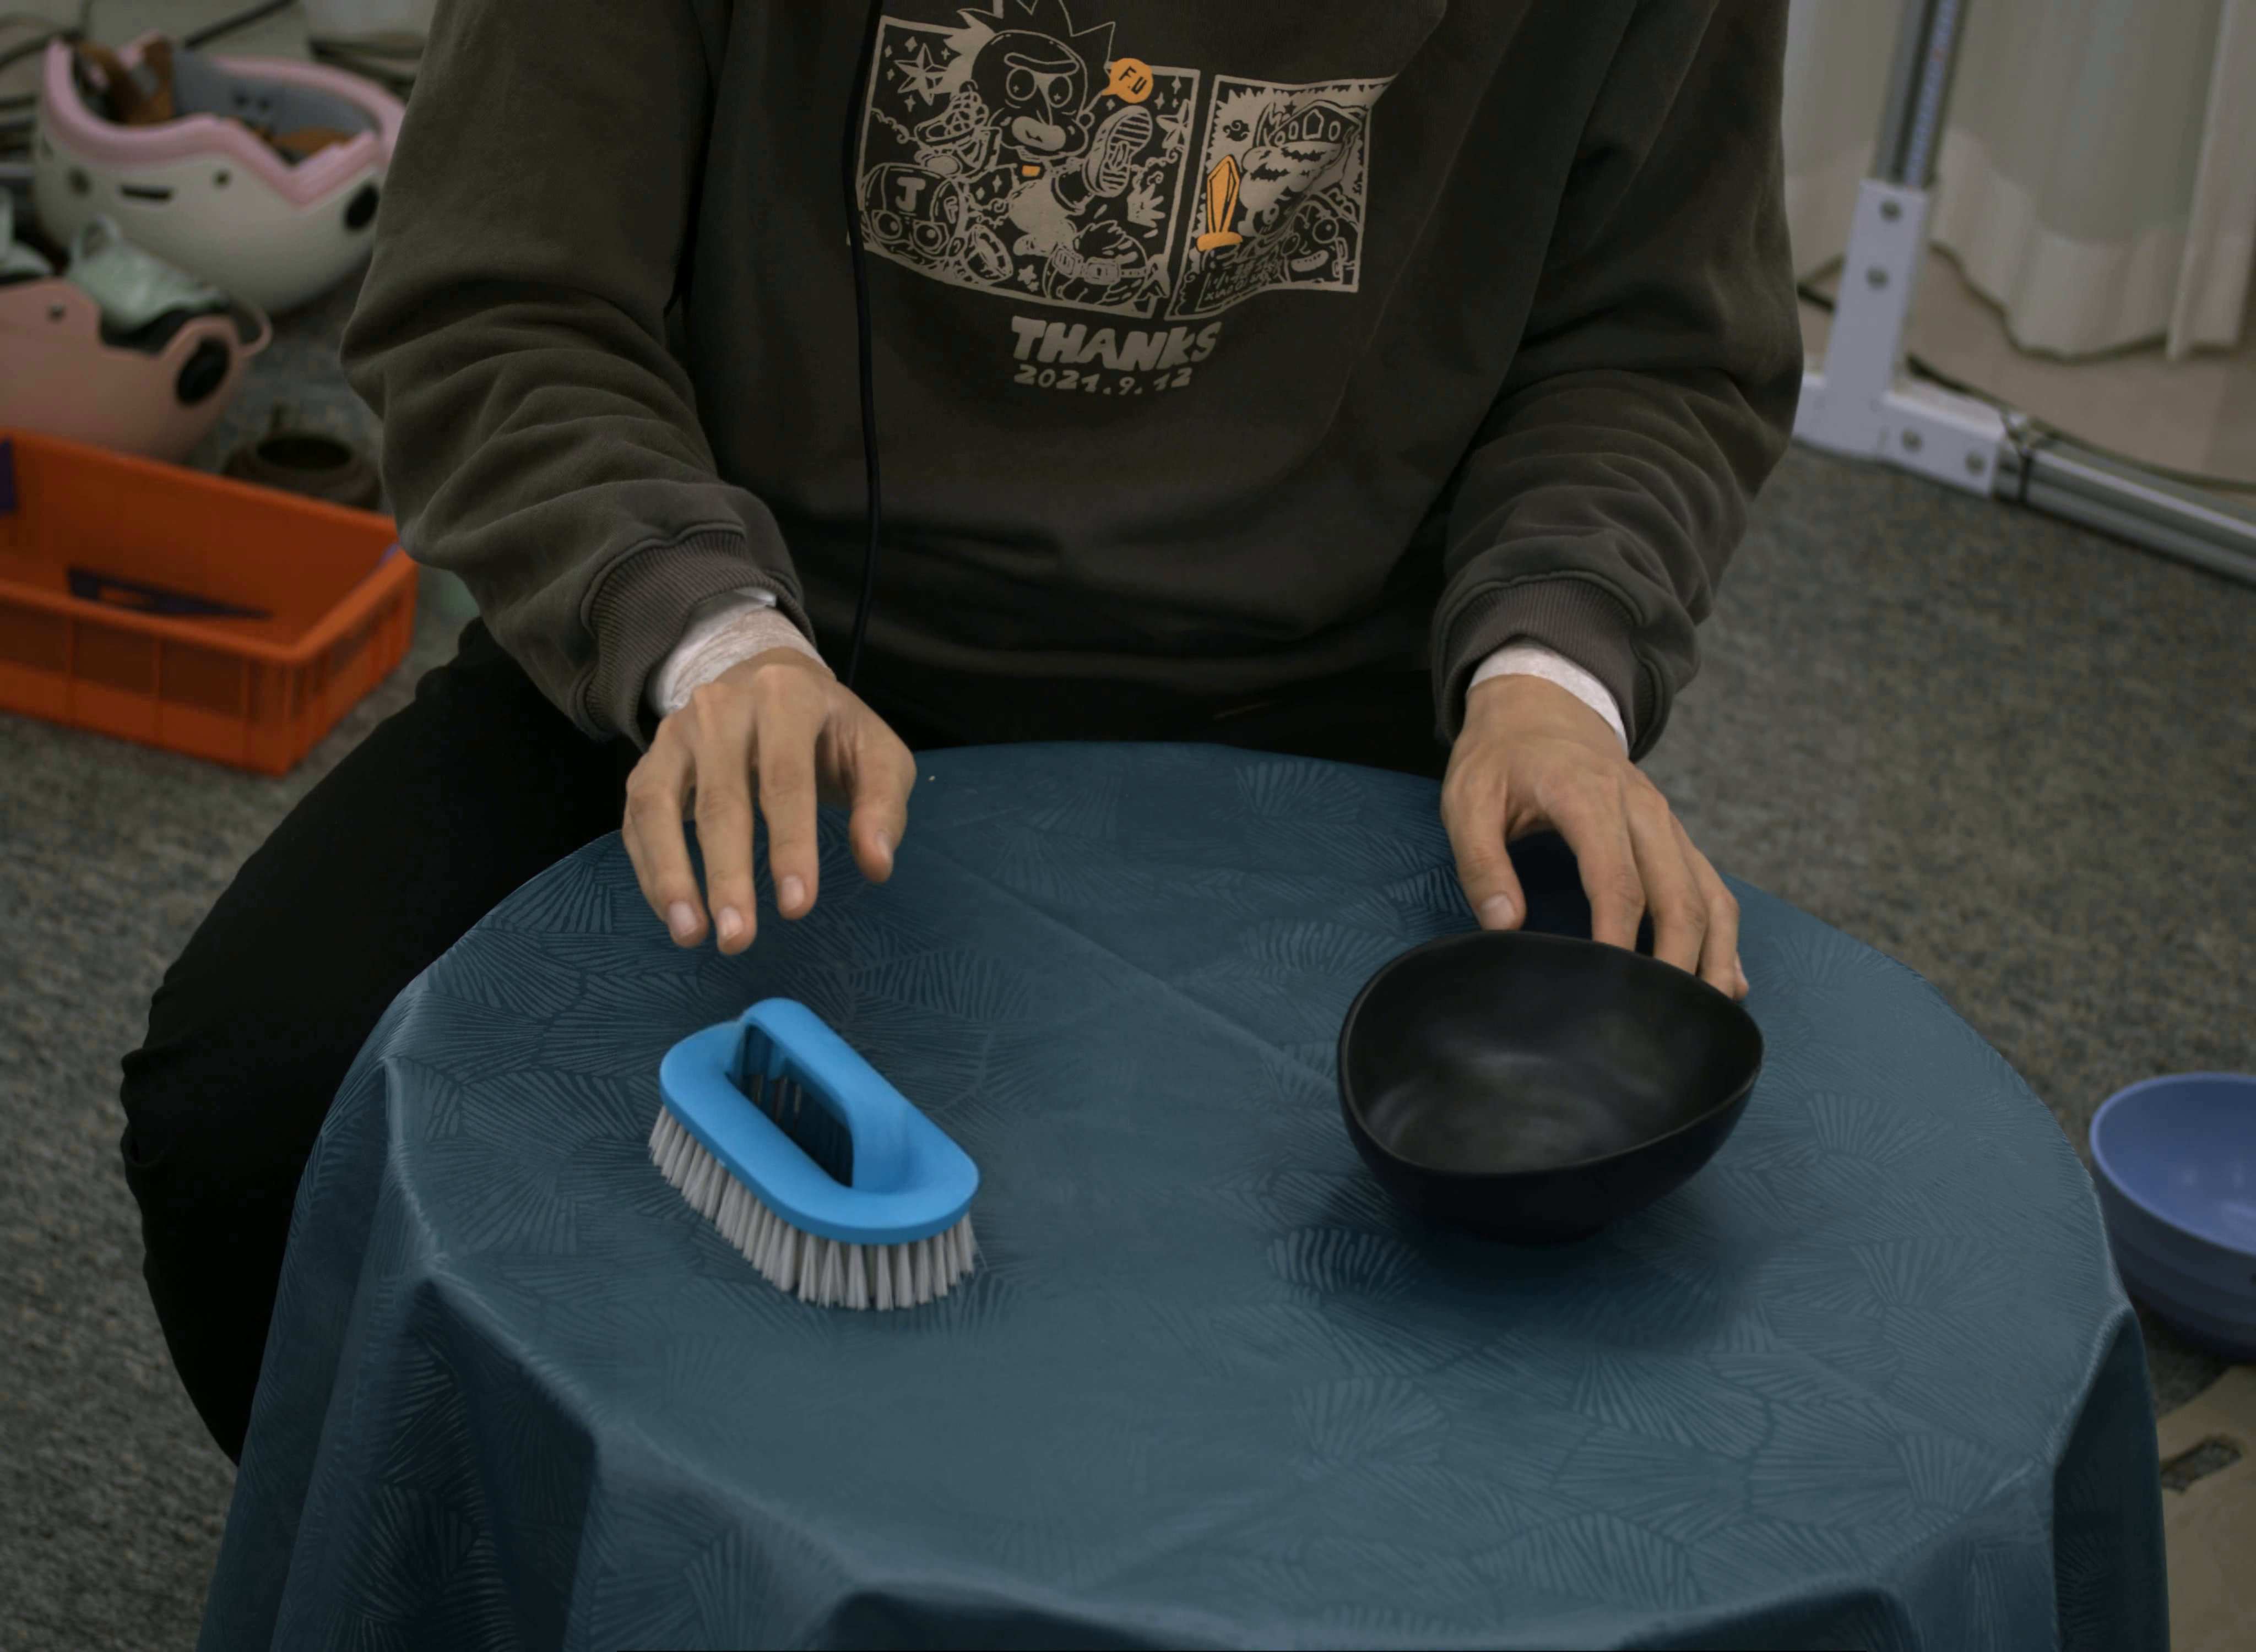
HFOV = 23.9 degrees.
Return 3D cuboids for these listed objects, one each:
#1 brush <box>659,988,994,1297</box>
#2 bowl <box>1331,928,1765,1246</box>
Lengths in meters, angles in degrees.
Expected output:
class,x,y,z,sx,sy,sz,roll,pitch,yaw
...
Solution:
class,x,y,z,sx,sy,sz,roll,pitch,yaw
brush,-0.102,0.096,1.763,0.084,0.063,0.143,-14,32,-28
bowl,0.140,0.099,1.815,0.138,0.066,0.170,22,32,29
